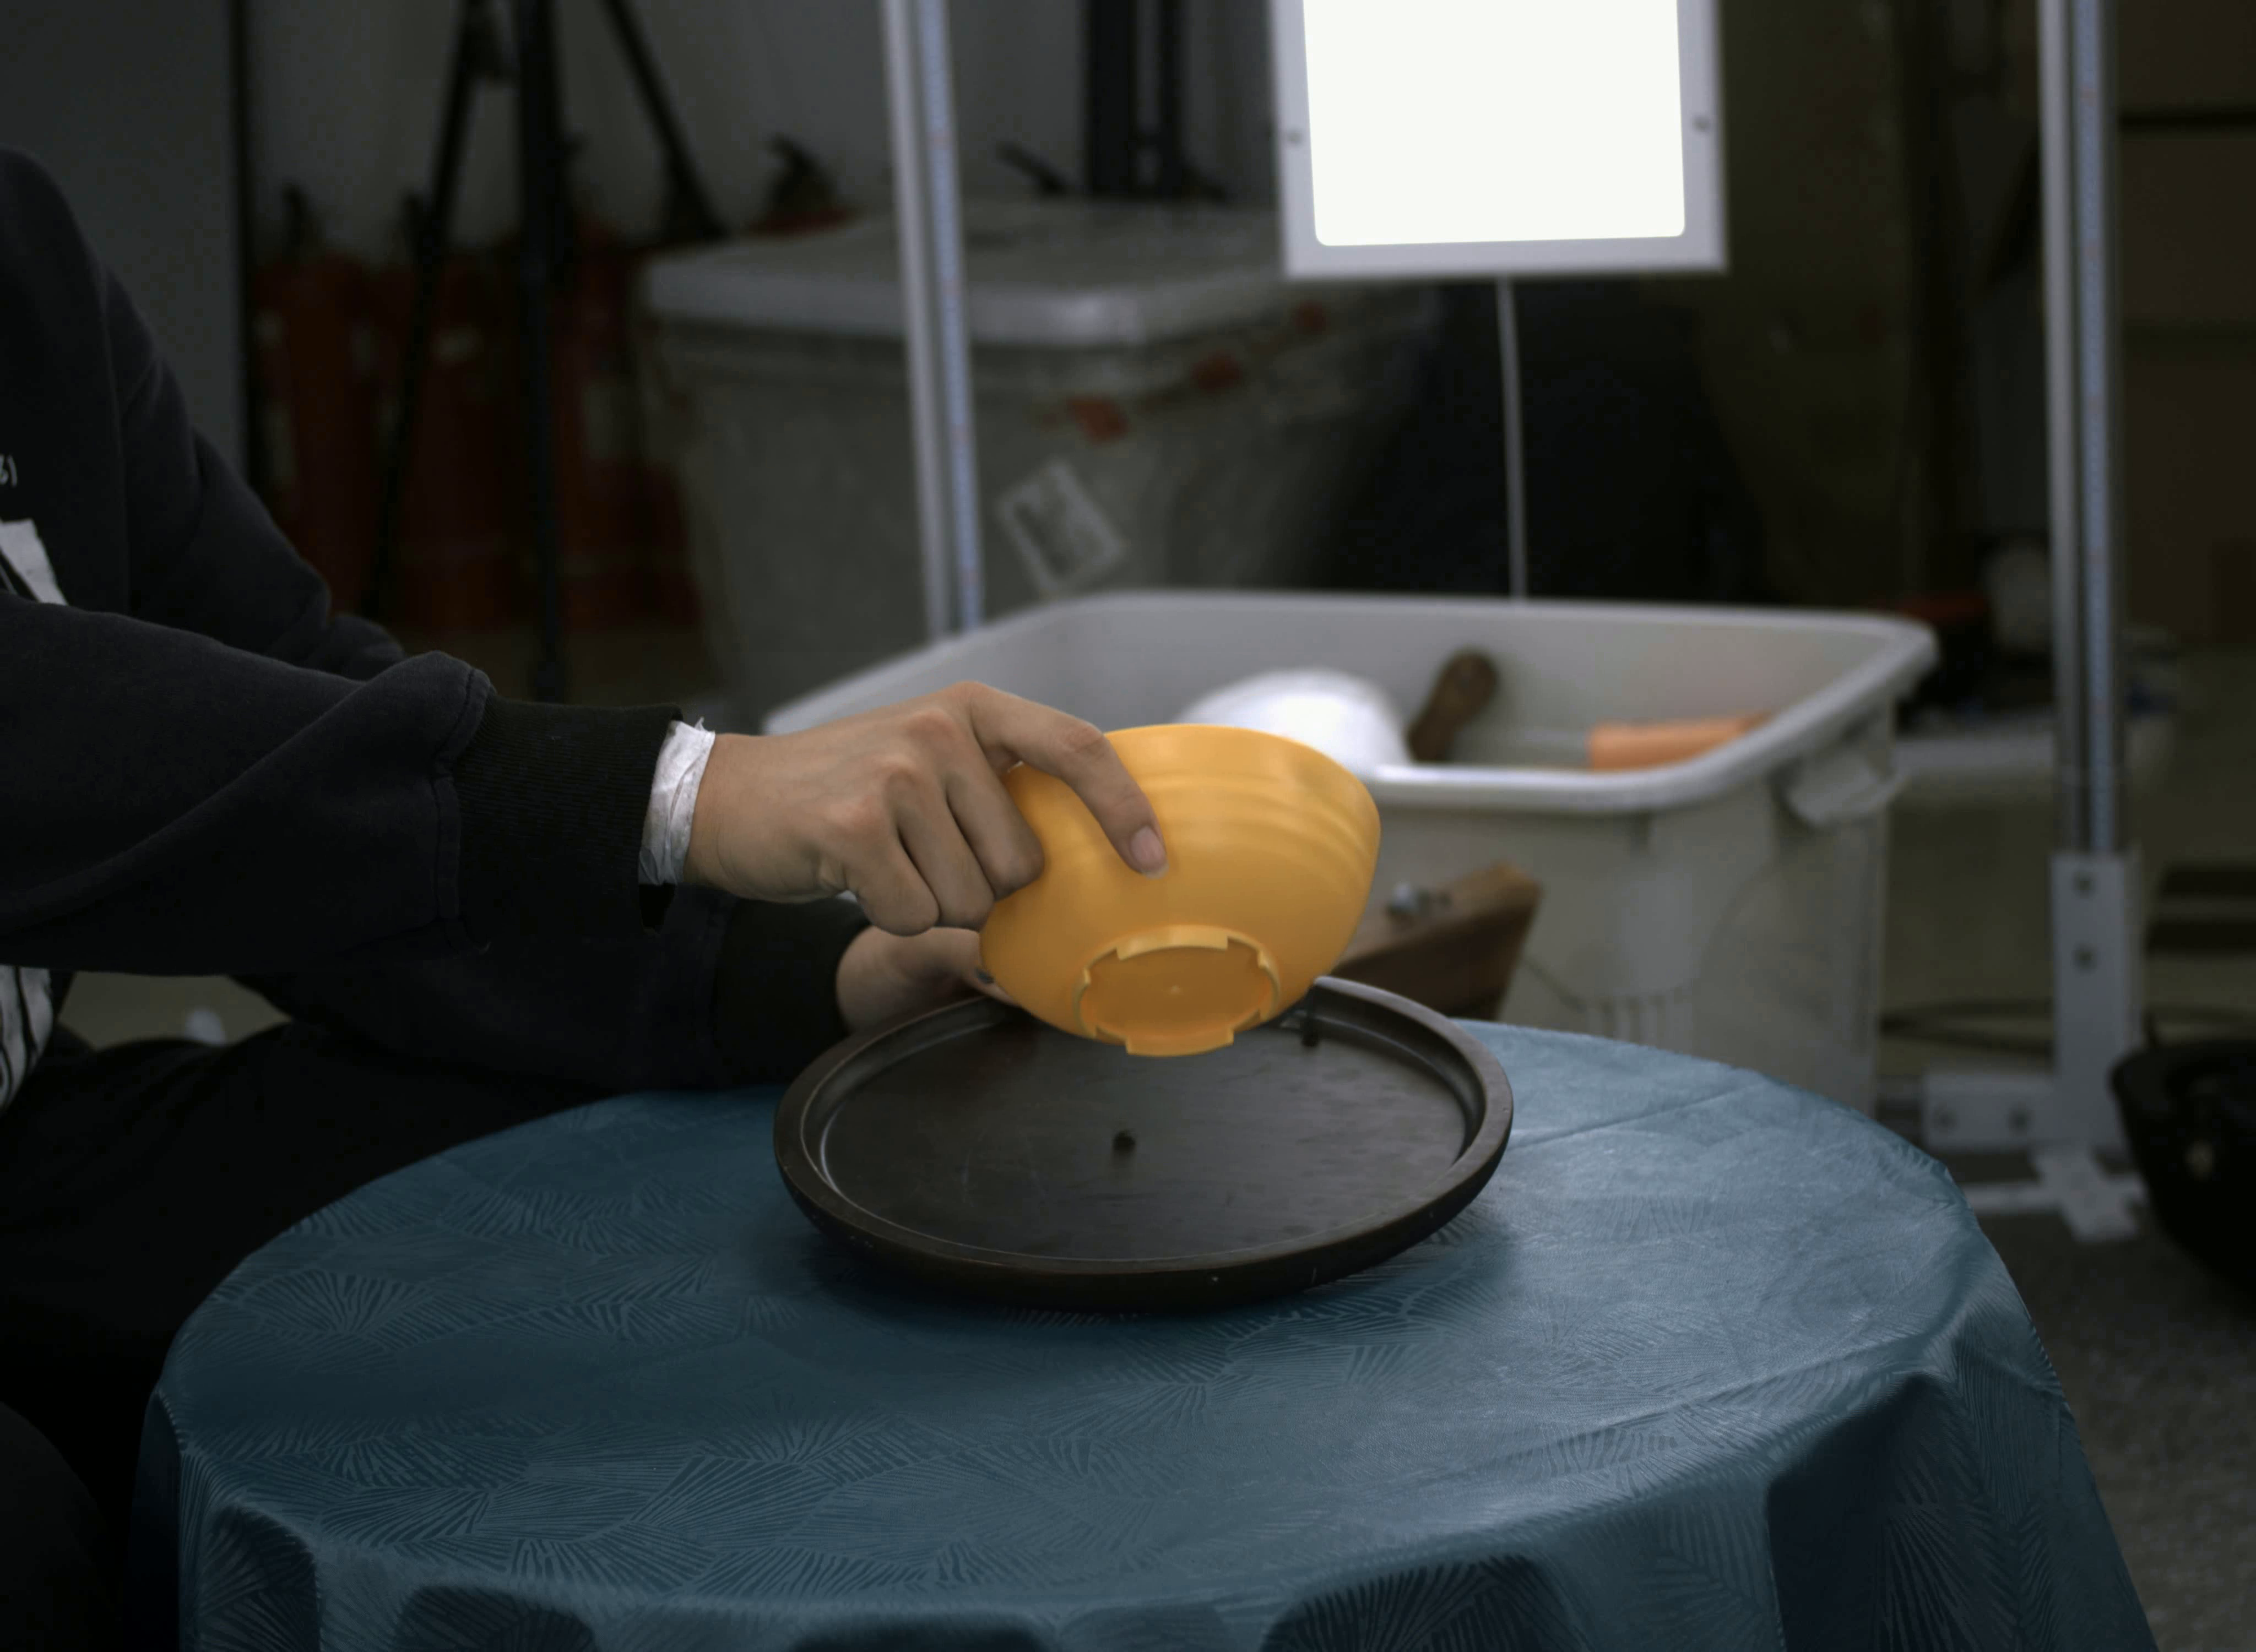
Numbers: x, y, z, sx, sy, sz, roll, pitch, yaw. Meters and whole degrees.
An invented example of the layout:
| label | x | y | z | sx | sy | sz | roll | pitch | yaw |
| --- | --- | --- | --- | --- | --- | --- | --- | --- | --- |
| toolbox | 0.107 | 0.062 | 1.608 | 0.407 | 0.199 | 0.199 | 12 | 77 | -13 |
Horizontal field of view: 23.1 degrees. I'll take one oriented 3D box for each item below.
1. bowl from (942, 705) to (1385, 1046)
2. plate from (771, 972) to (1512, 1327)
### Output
| label | x | y | z | sx | sy | sz | roll | pitch | yaw |
| --- | --- | --- | --- | --- | --- | --- | --- | --- | --- |
| bowl | 0.014 | 0.028 | 1.760 | 0.145 | 0.146 | 0.060 | -4 | 55 | 0 |
| plate | 0.005 | 0.105 | 1.872 | 0.254 | 0.029 | 0.254 | -5 | 23 | 1 |
